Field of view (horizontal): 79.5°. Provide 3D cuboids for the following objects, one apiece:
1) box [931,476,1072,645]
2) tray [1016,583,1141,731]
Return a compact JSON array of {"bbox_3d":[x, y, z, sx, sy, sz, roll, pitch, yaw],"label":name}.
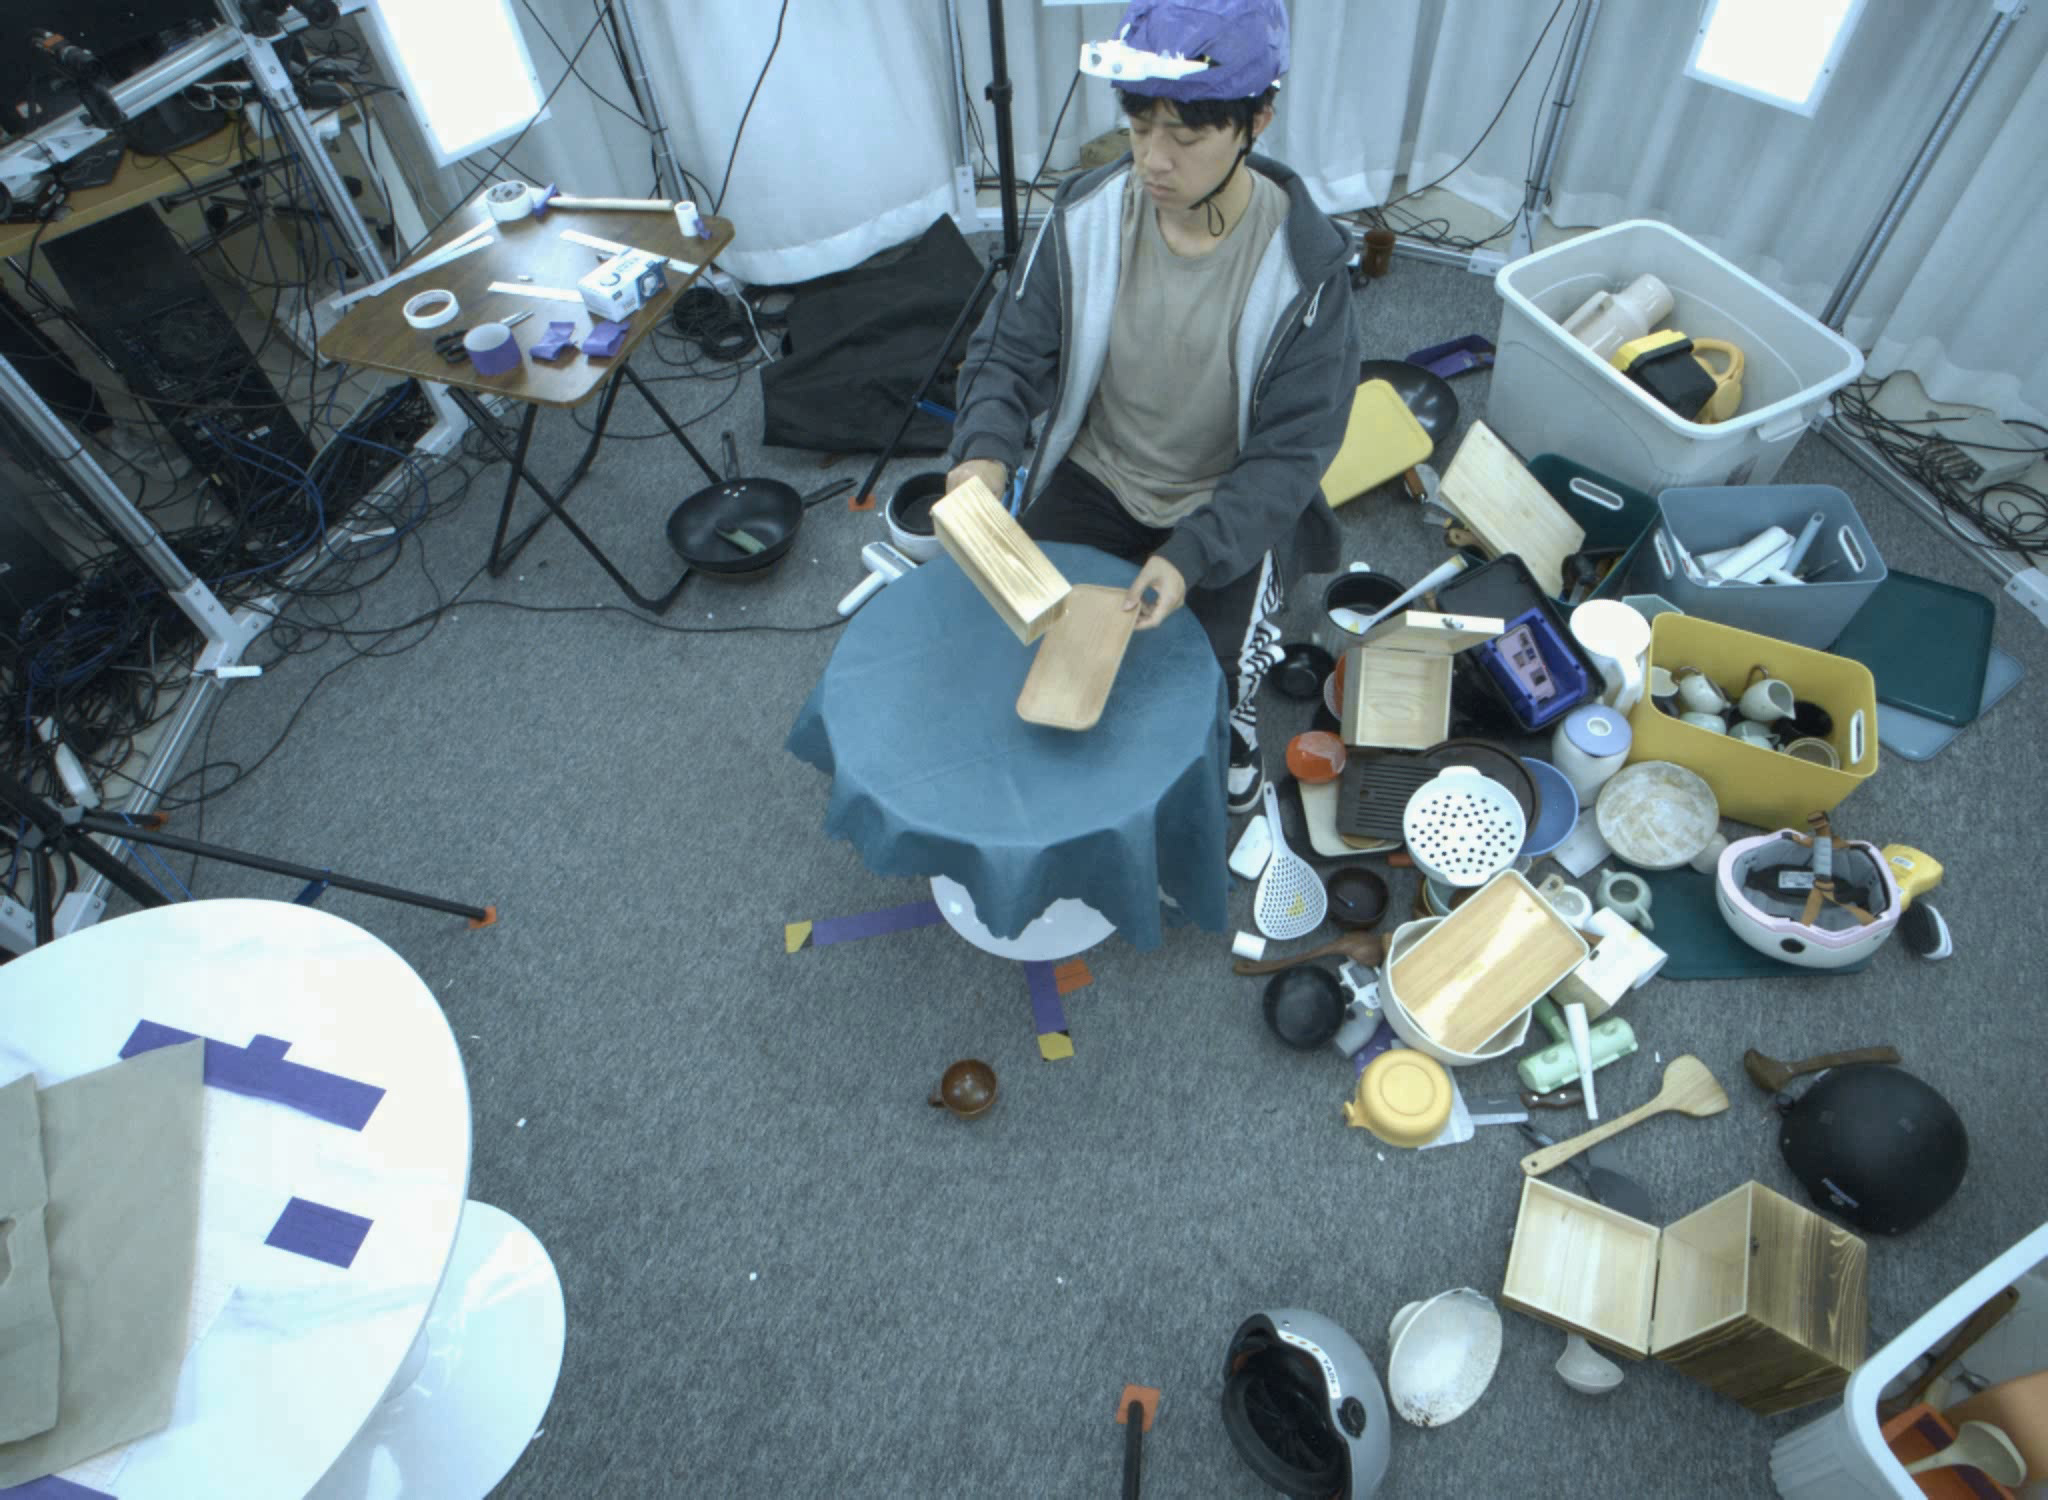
[{"bbox_3d":[-0.033,-0.261,1.697,0.080,0.108,0.210,-38,84,-8],"label":"box"},{"bbox_3d":[0.081,-0.138,1.793,0.129,0.023,0.250,13,63,19],"label":"tray"}]
